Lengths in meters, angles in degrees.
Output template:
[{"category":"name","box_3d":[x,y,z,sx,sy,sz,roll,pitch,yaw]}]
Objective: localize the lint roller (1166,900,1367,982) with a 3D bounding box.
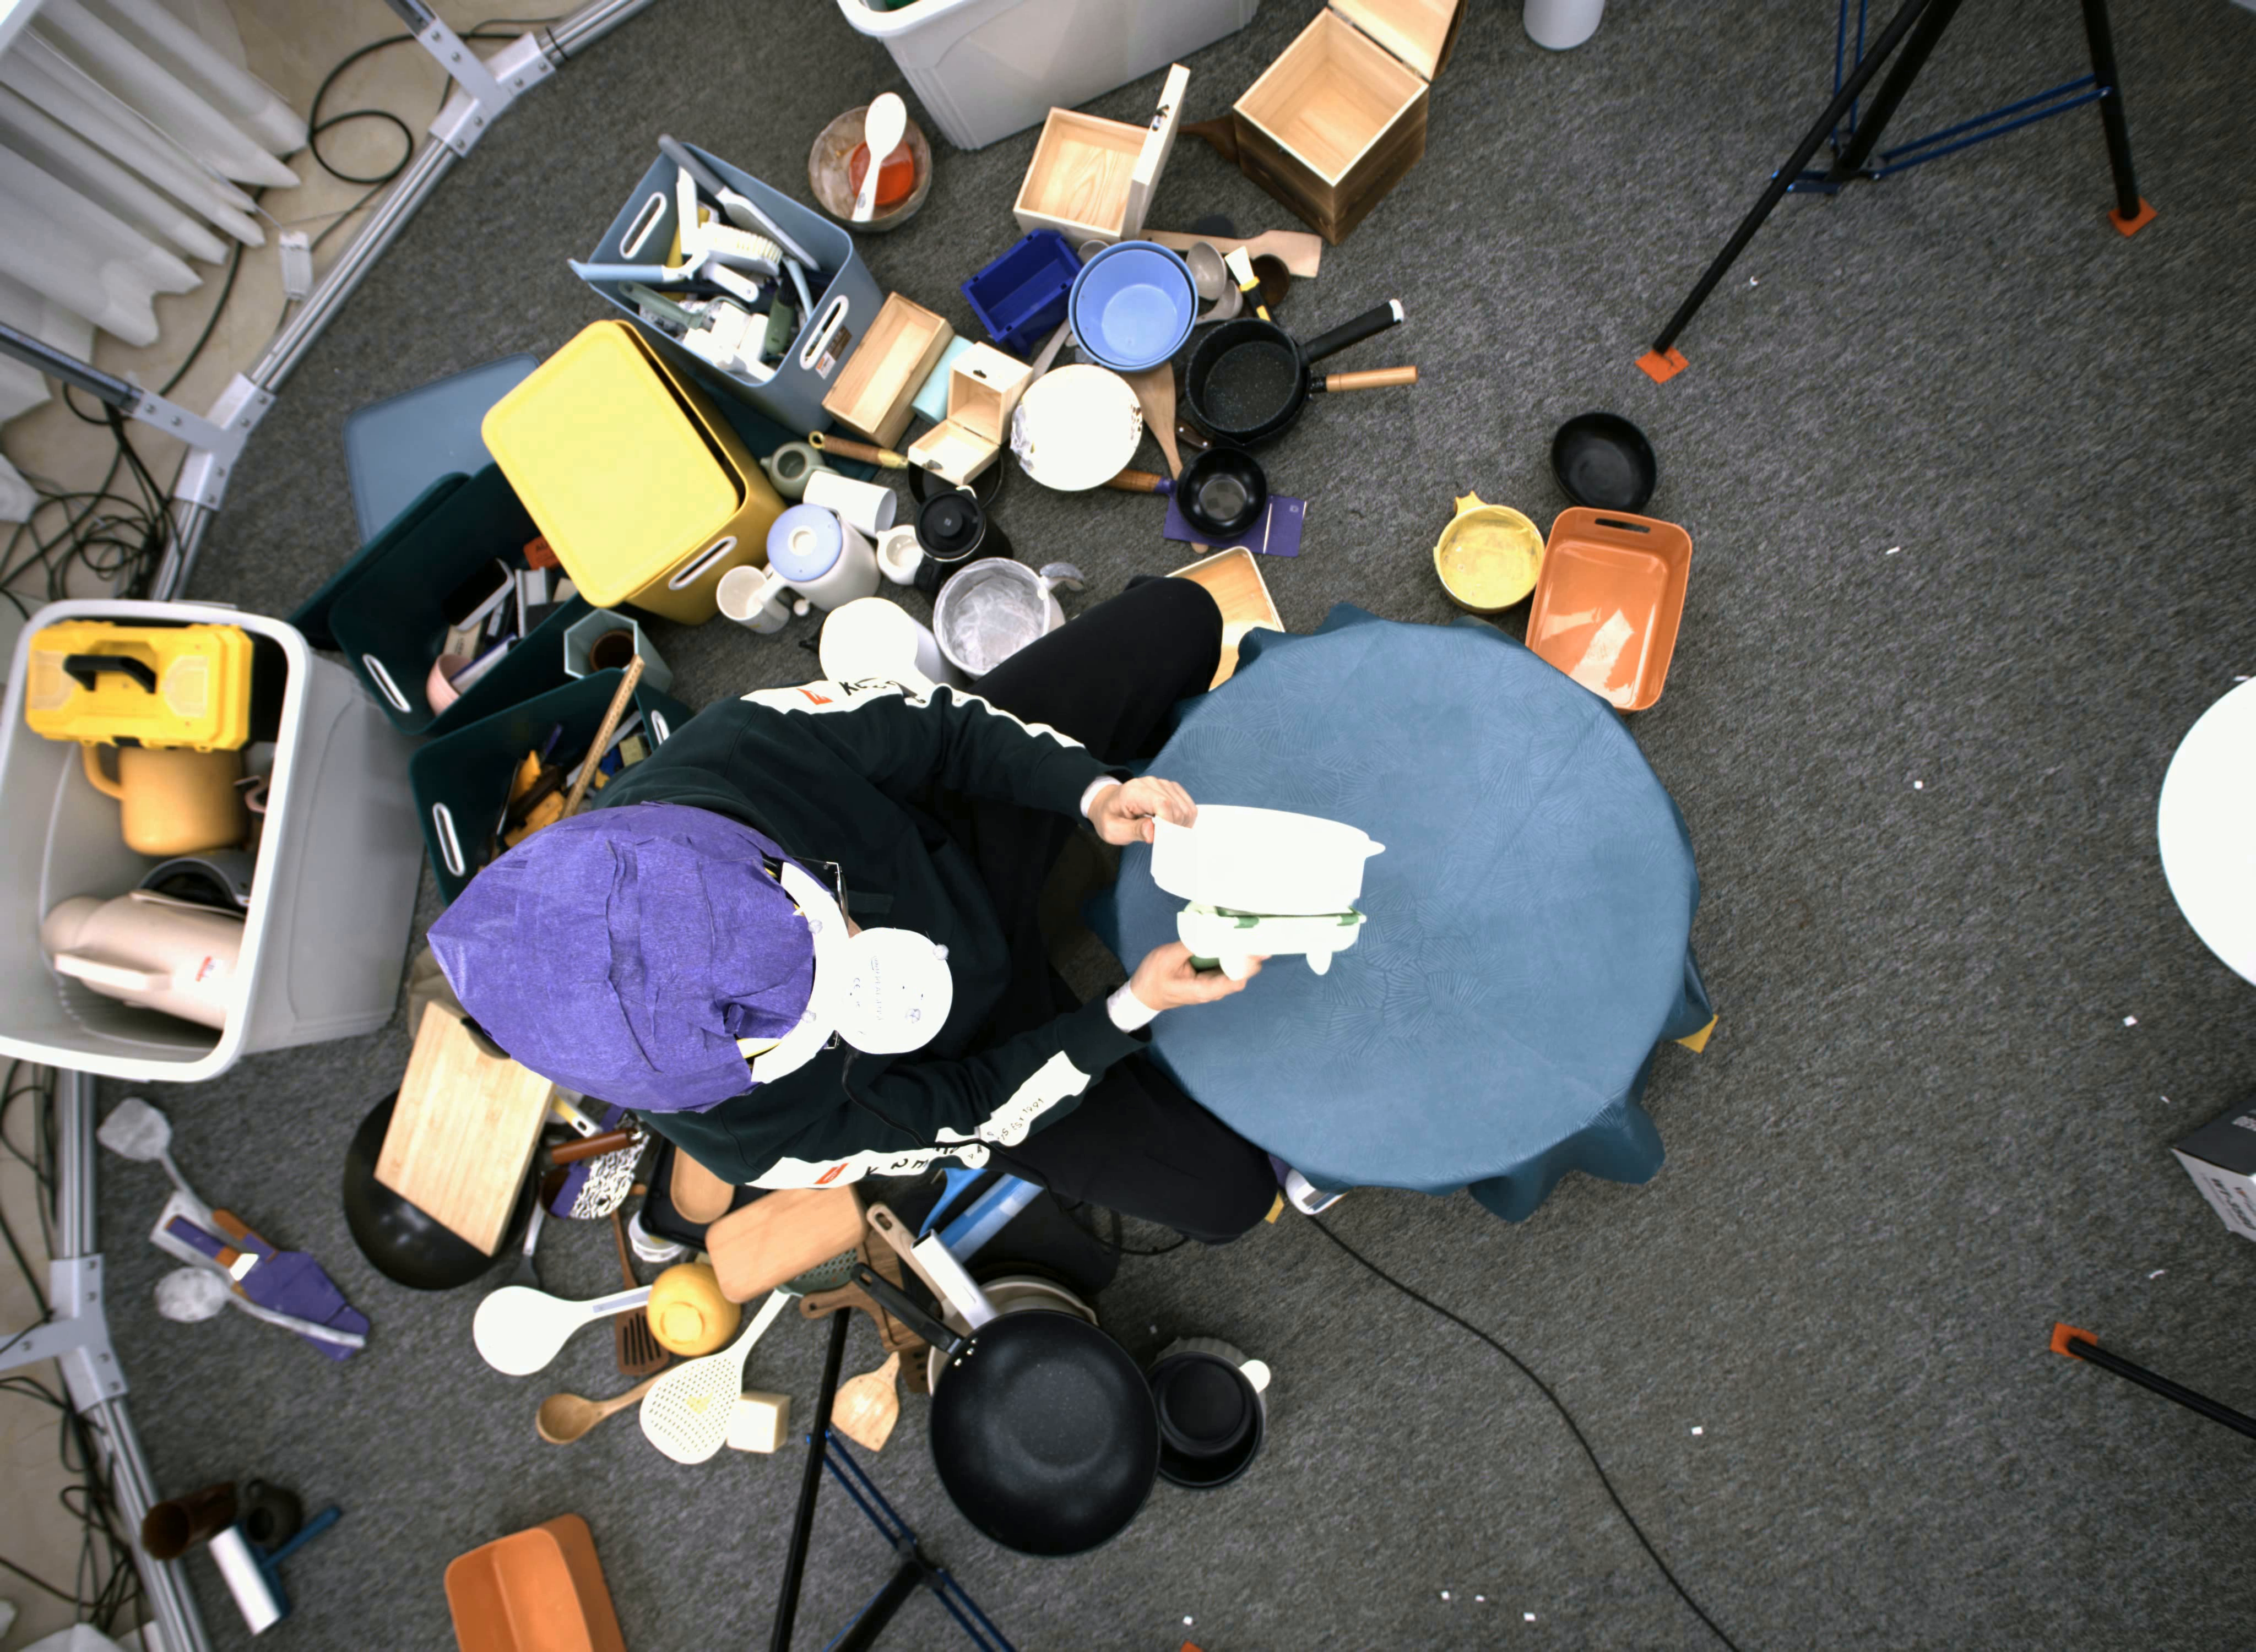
[{"category":"lint roller","box_3d":[0.104,0.124,1.321,0.187,0.197,0.081,-38,61,43]}]

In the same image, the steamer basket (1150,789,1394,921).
[{"category":"steamer basket","box_3d":[0.124,0.026,1.267,0.230,0.199,0.070,17,108,23]}]
